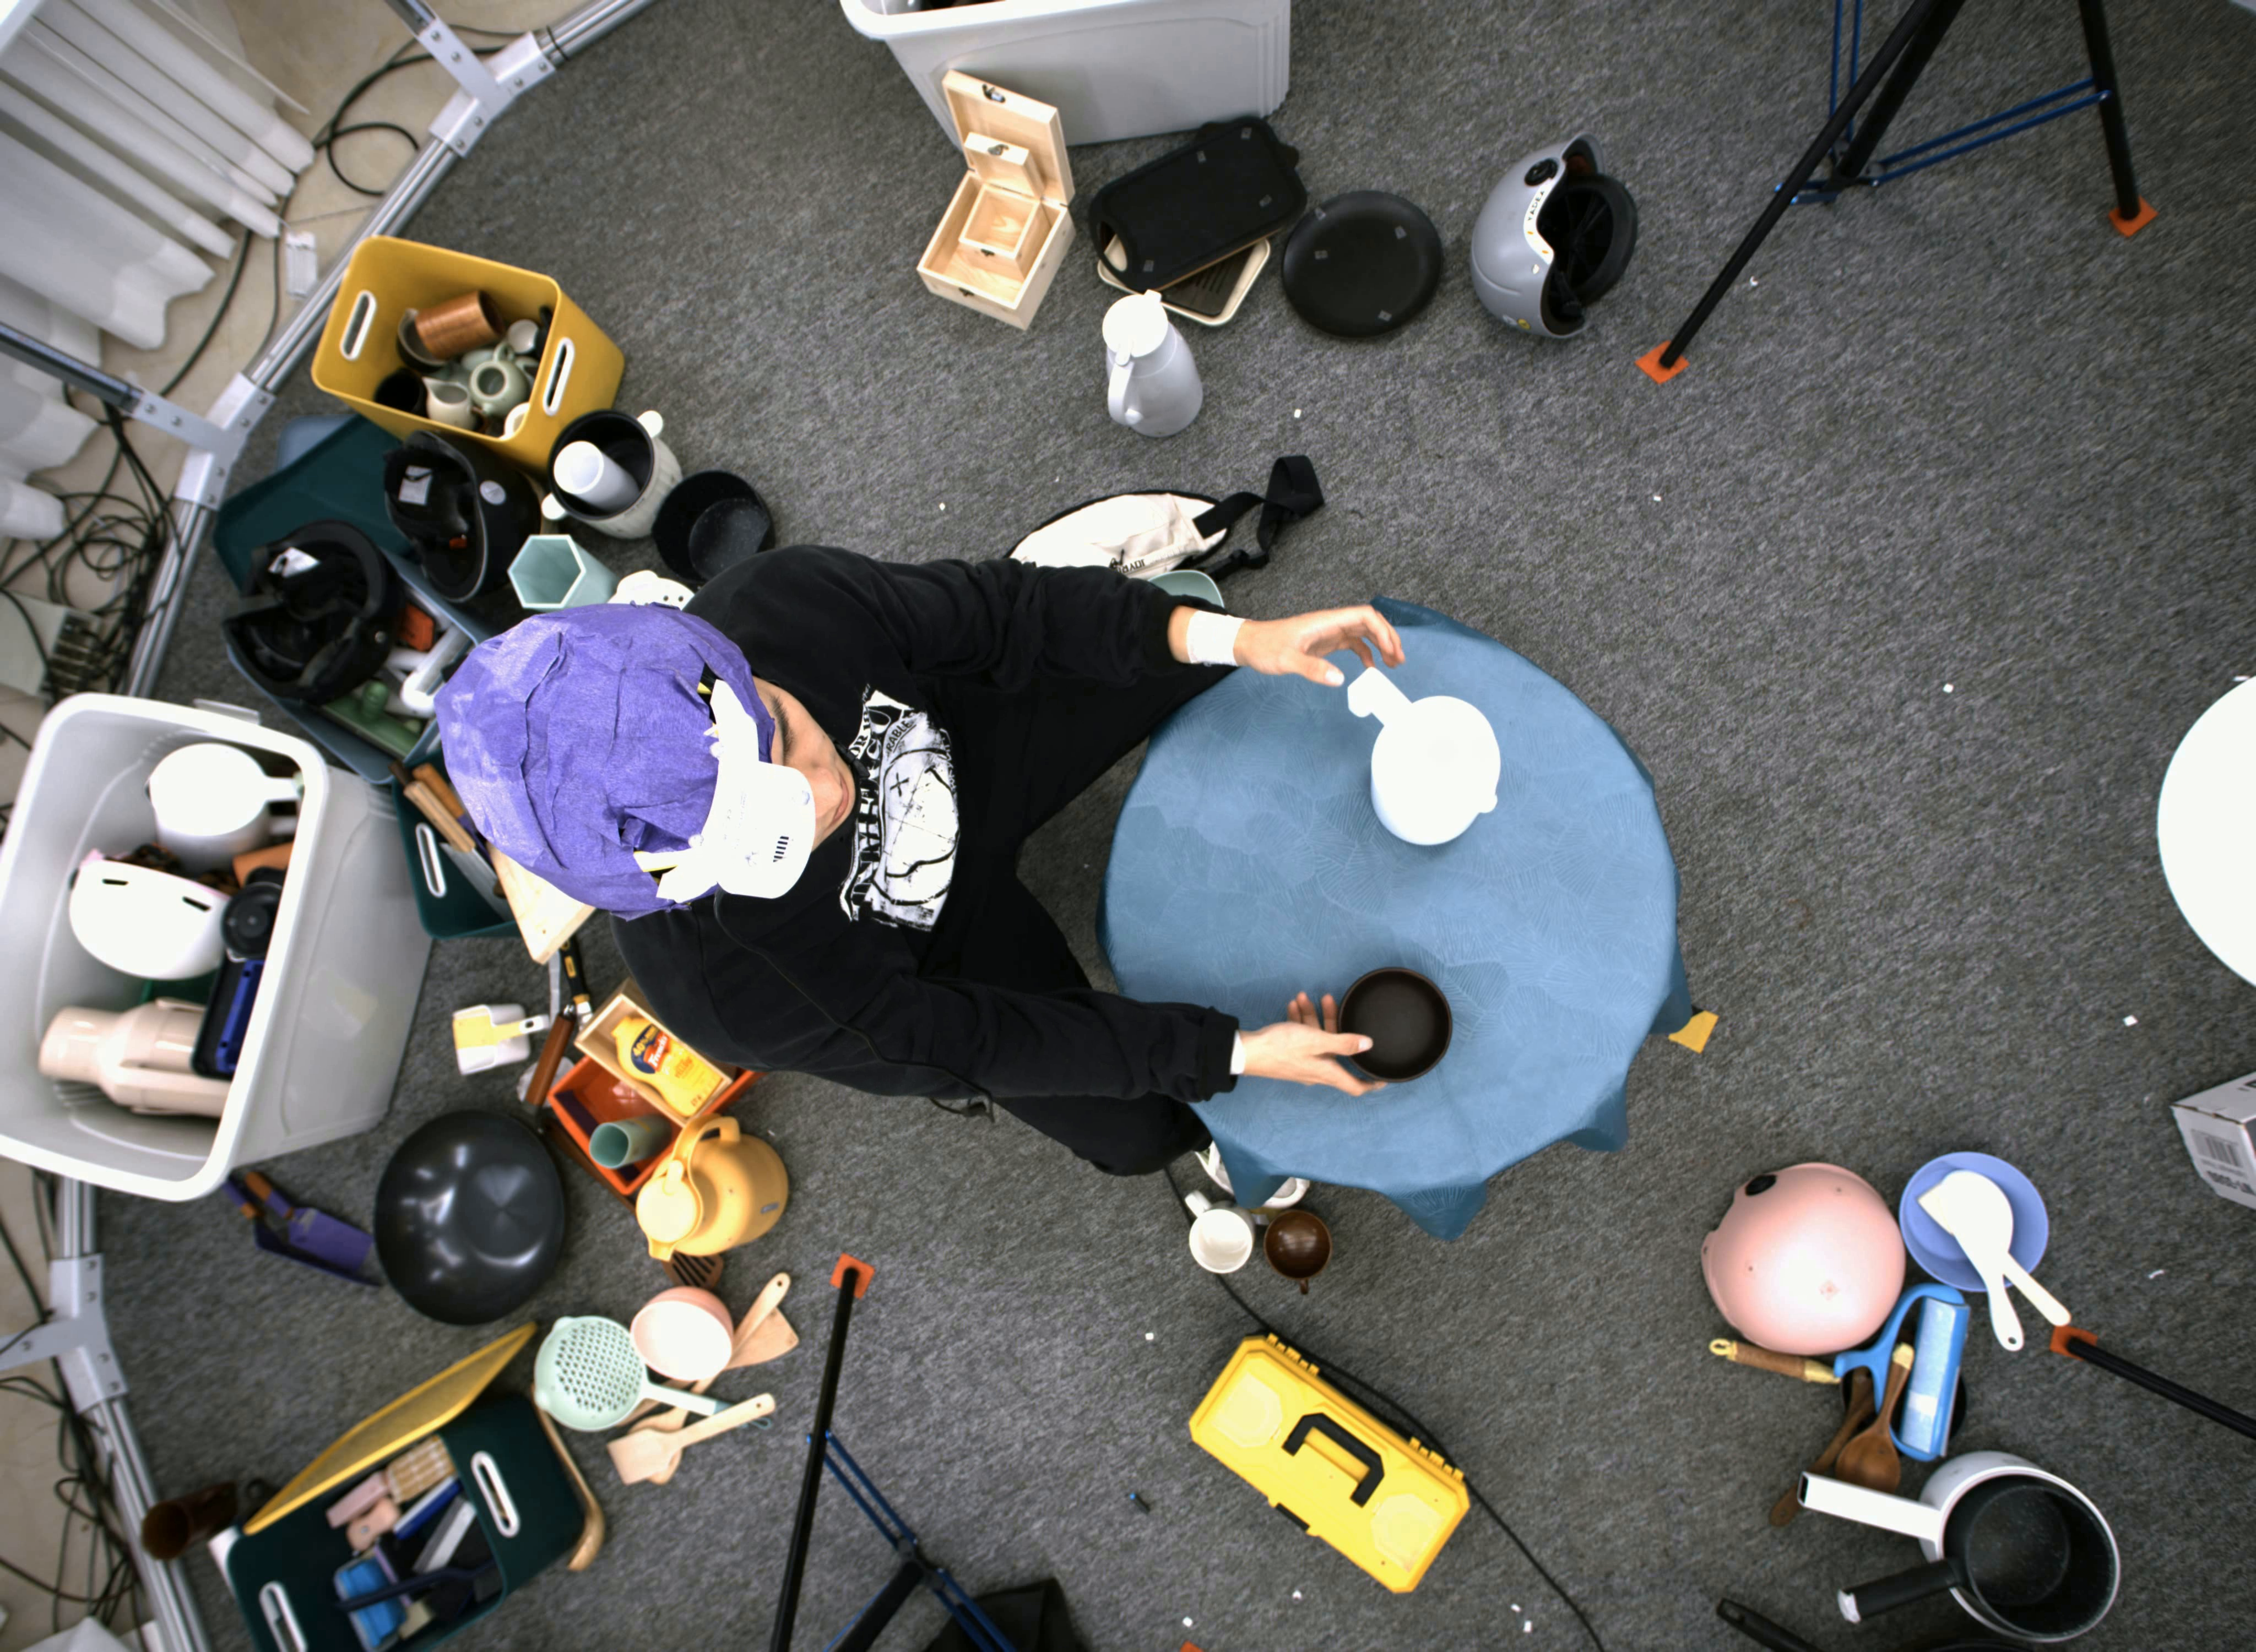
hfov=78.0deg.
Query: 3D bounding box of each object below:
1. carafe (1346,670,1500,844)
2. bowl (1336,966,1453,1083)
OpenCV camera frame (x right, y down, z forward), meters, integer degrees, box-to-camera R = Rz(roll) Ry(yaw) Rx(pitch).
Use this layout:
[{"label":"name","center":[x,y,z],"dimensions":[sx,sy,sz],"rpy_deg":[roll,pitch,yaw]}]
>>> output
[{"label":"carafe","center":[0.280,-0.064,1.330],"dimensions":[0.124,0.268,0.172],"rpy_deg":[-45,80,6]},{"label":"bowl","center":[0.272,0.201,1.417],"dimensions":[0.118,0.070,0.117],"rpy_deg":[-1,86,11]}]
